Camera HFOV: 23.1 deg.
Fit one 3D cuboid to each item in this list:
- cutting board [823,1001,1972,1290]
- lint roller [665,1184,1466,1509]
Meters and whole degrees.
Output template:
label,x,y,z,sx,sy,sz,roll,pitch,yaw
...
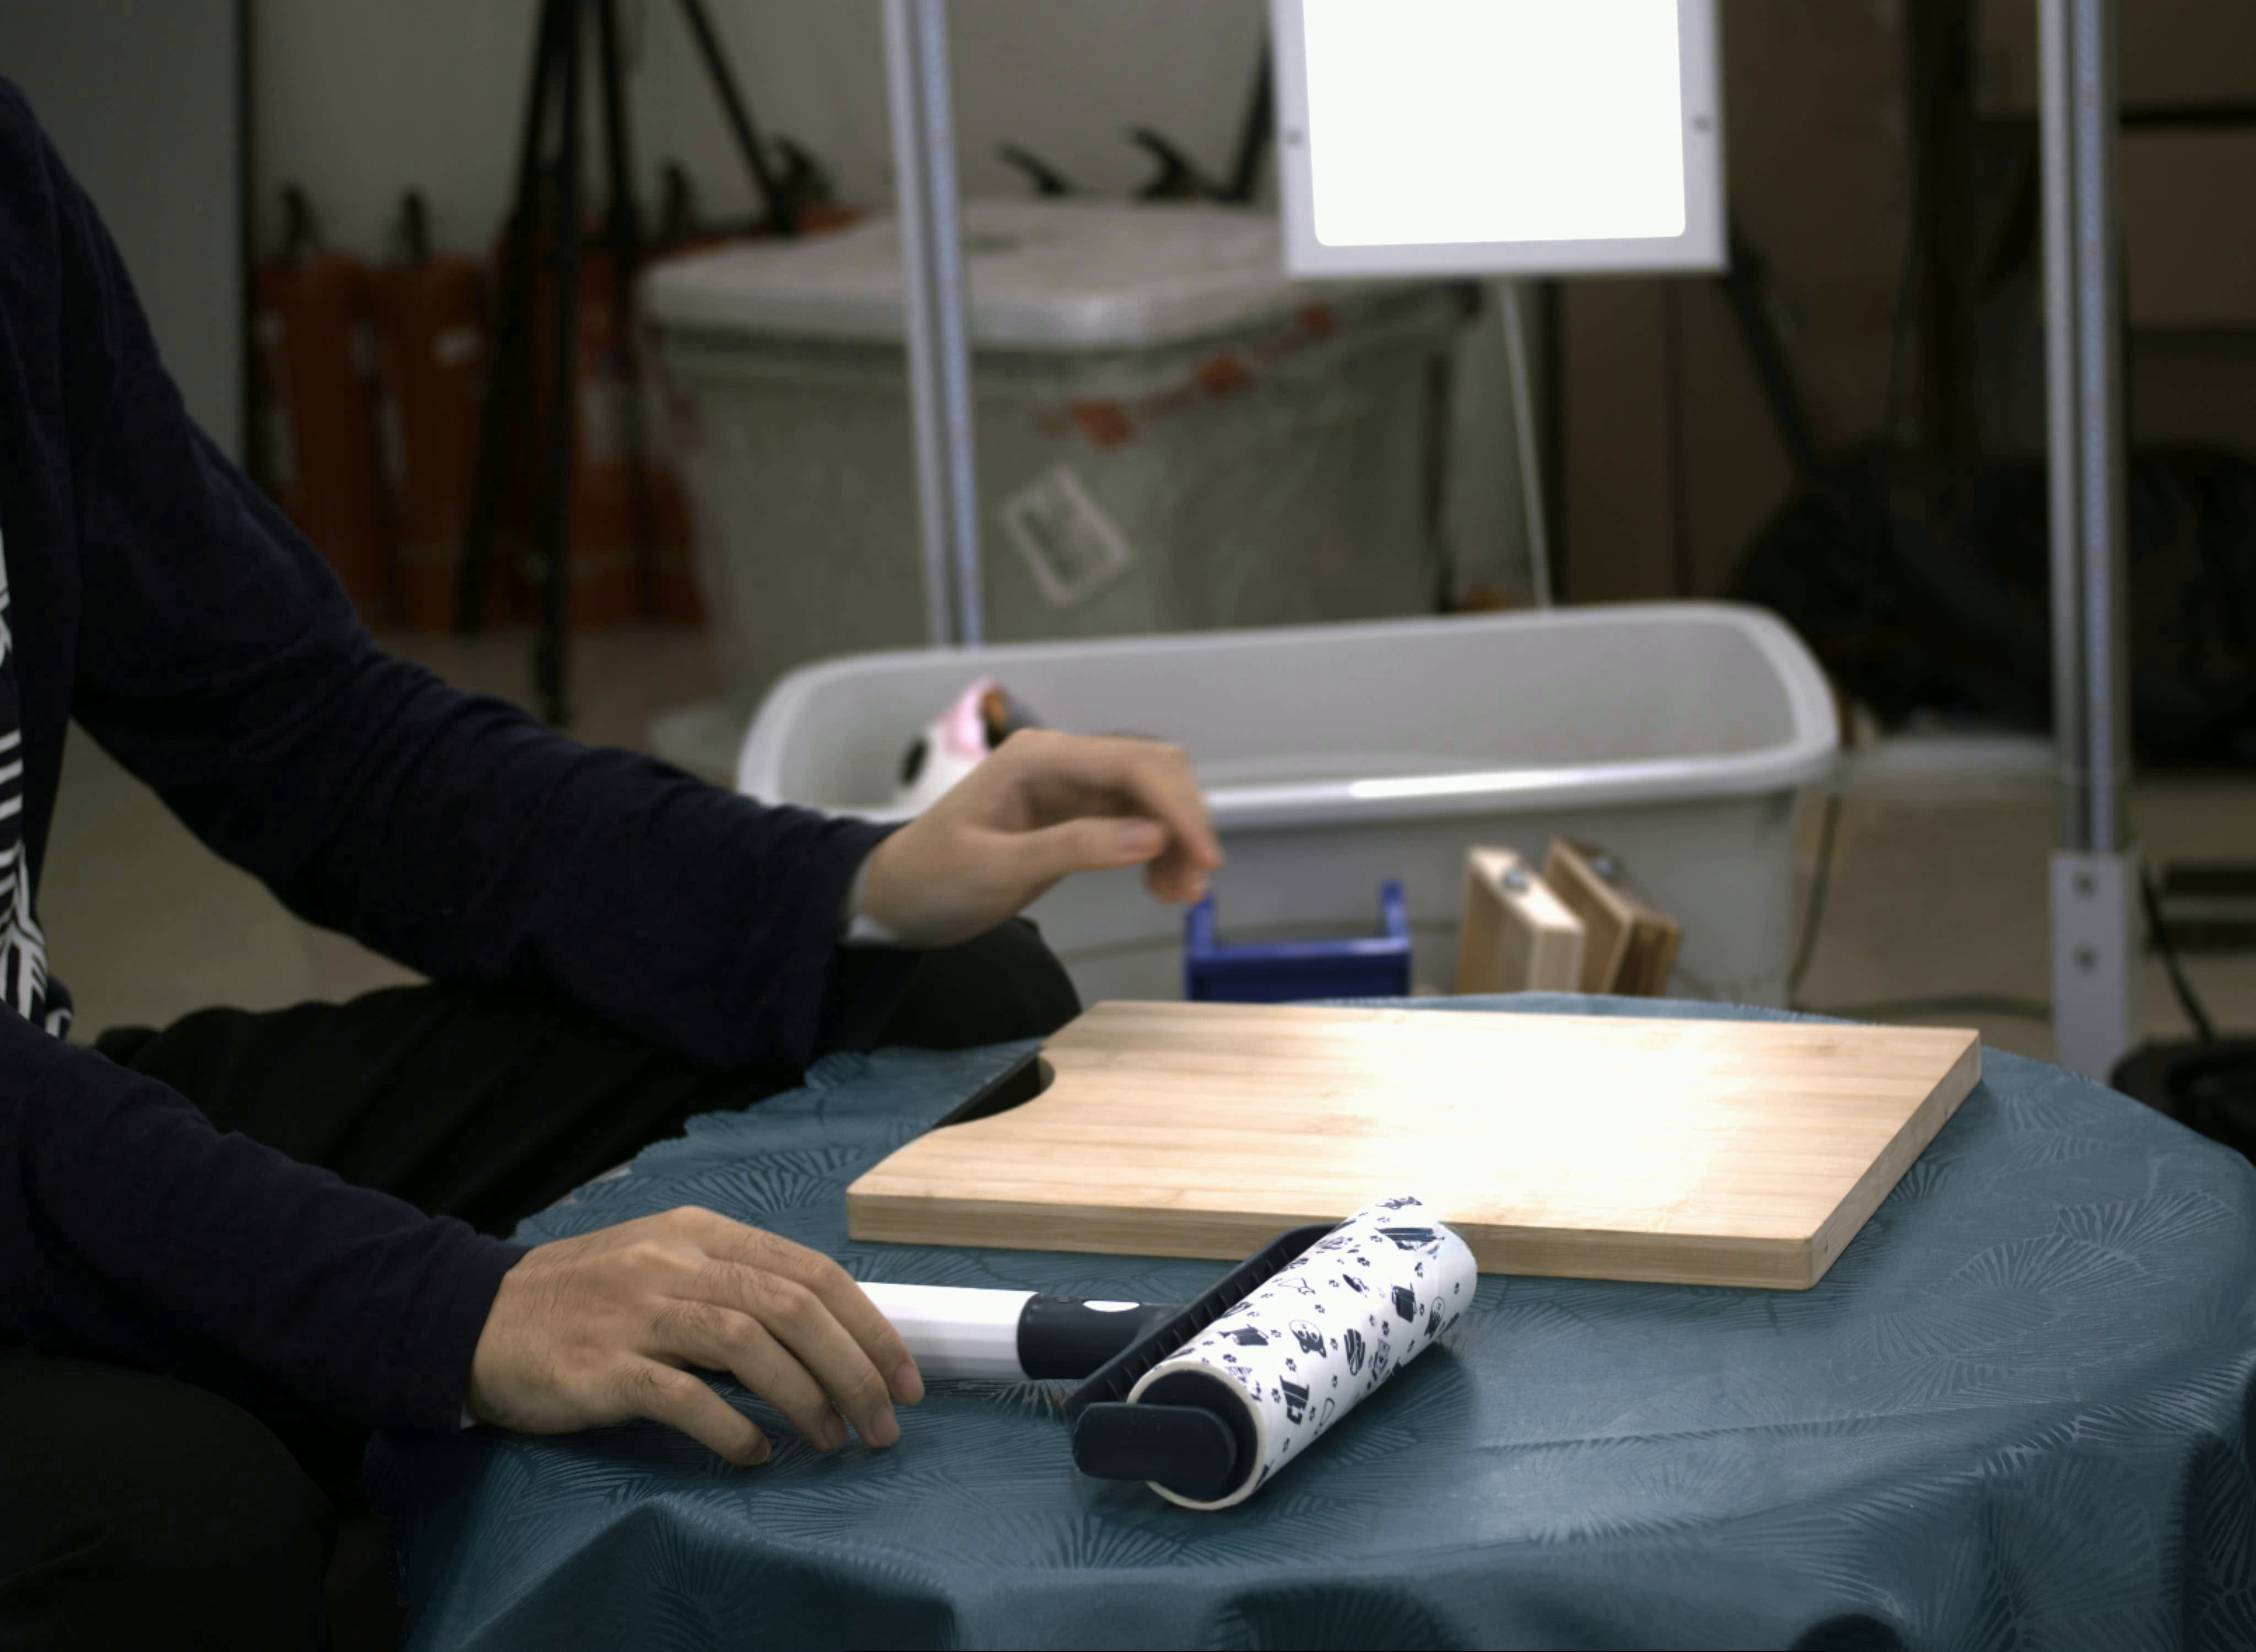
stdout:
label,x,y,z,sx,sy,sz,roll,pitch,yaw
cutting board,0.099,0.107,1.912,0.354,0.023,0.246,1,14,23
lint roller,-0.038,0.157,1.707,0.251,0.050,0.172,0,15,28
